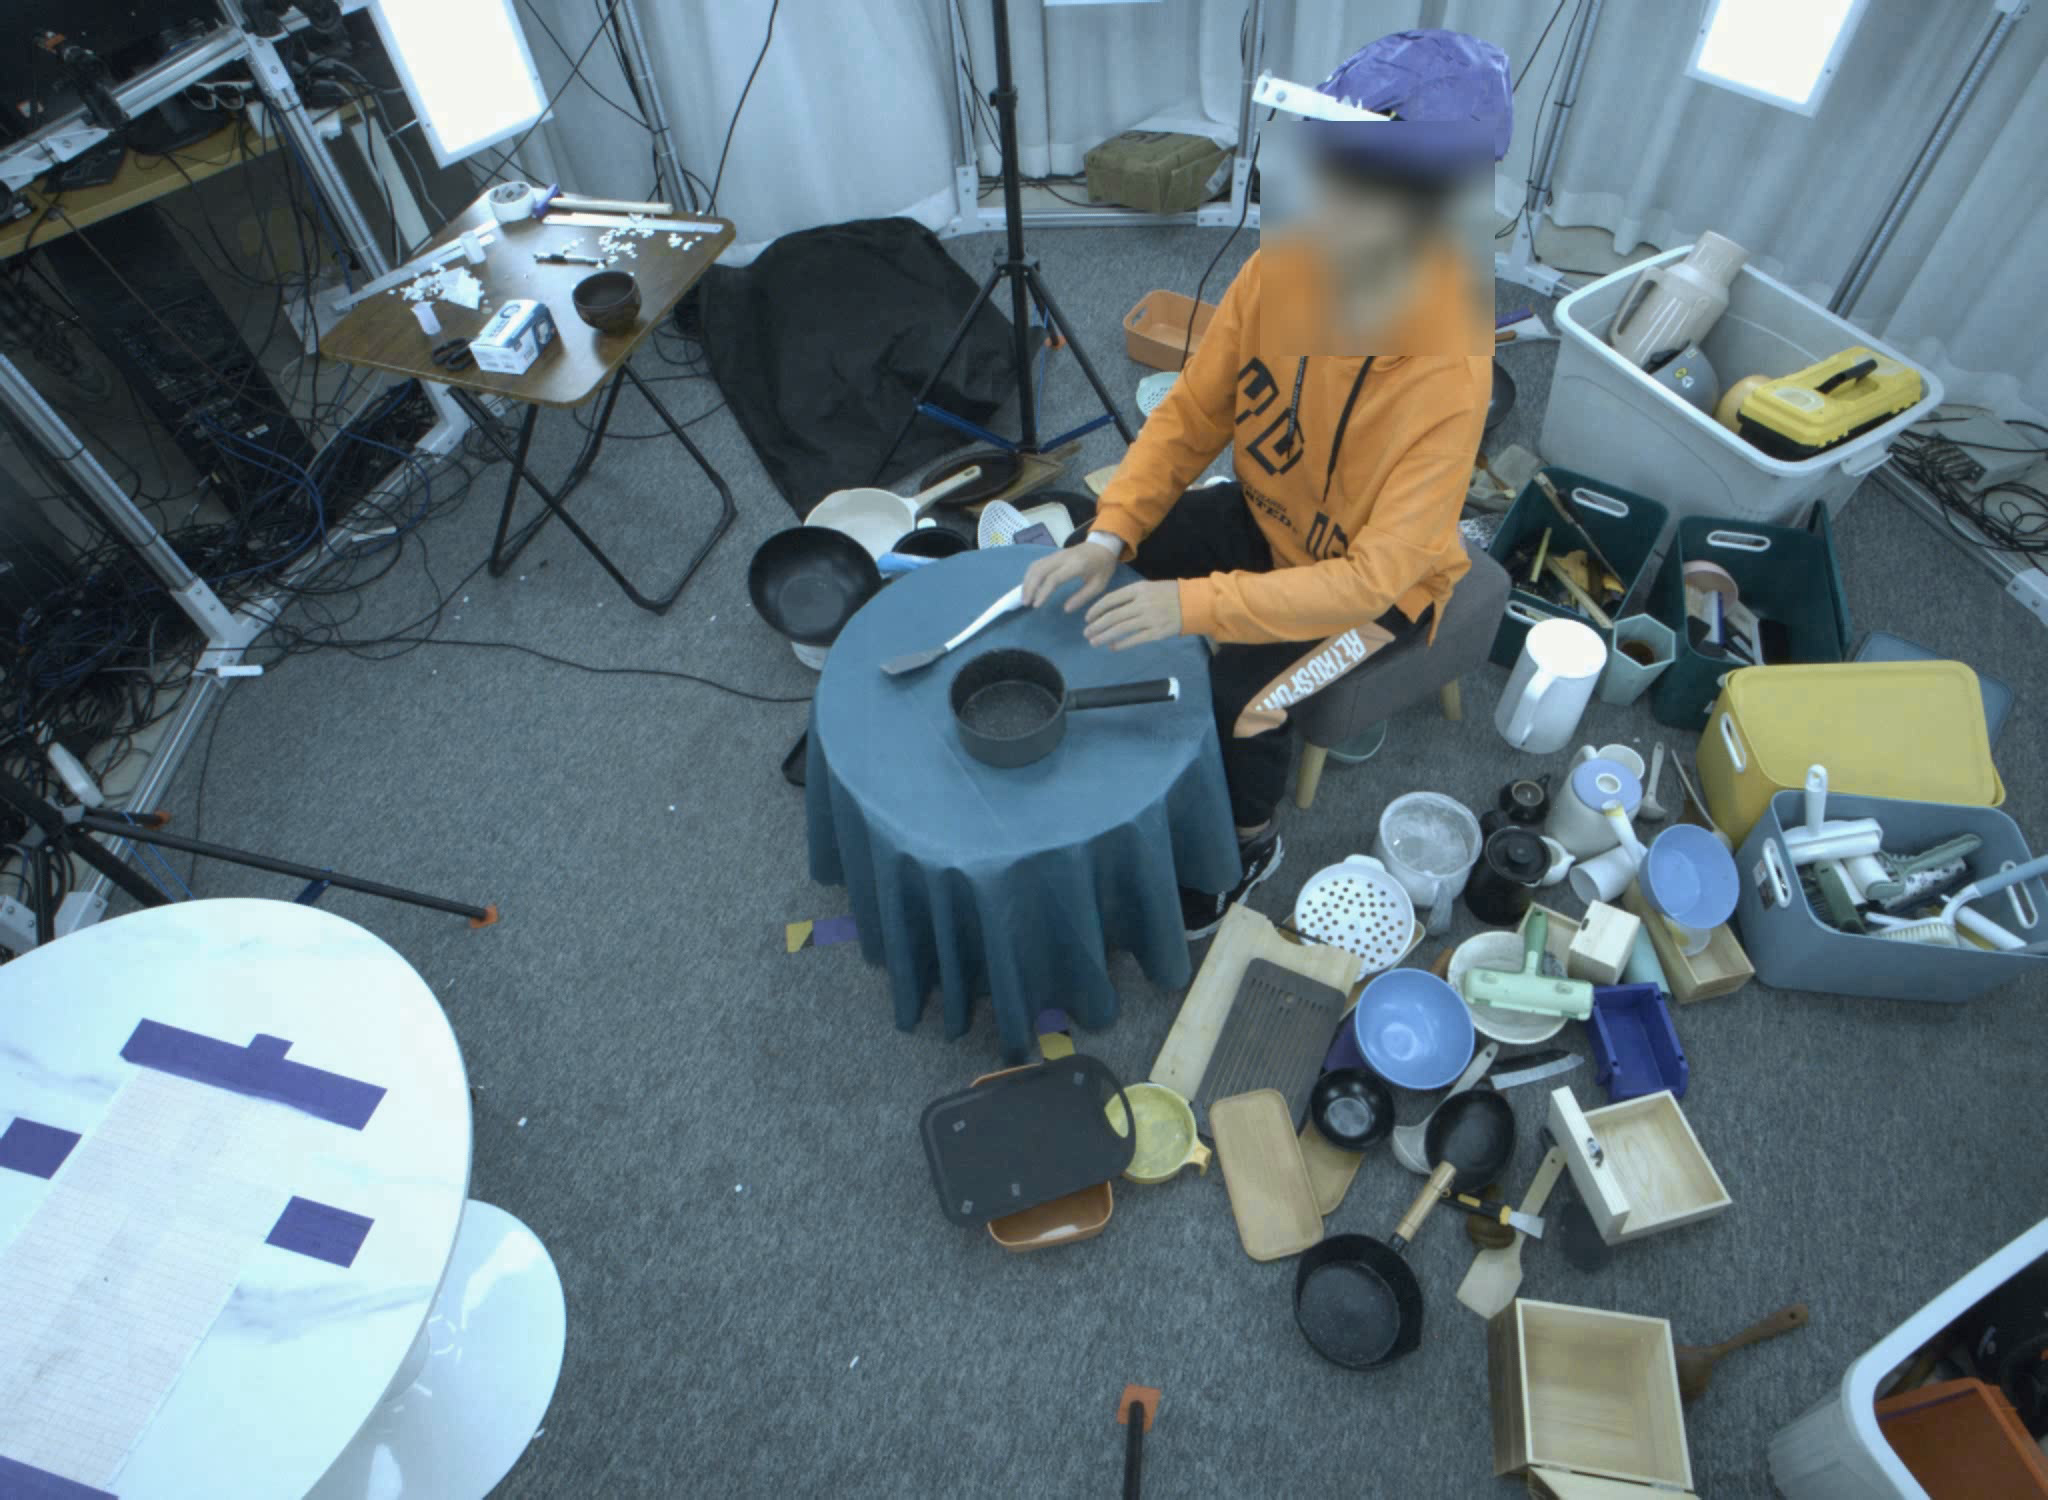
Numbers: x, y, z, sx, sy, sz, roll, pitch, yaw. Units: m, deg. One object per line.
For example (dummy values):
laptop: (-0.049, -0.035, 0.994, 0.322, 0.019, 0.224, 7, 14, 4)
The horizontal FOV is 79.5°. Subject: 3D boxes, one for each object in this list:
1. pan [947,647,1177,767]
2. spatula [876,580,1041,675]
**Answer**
pan: (0.057, -0.062, 1.777, 0.328, 0.087, 0.170, 0, 56, 5)
spatula: (-0.098, -0.184, 1.901, 0.290, 0.033, 0.057, -32, 39, -20)
